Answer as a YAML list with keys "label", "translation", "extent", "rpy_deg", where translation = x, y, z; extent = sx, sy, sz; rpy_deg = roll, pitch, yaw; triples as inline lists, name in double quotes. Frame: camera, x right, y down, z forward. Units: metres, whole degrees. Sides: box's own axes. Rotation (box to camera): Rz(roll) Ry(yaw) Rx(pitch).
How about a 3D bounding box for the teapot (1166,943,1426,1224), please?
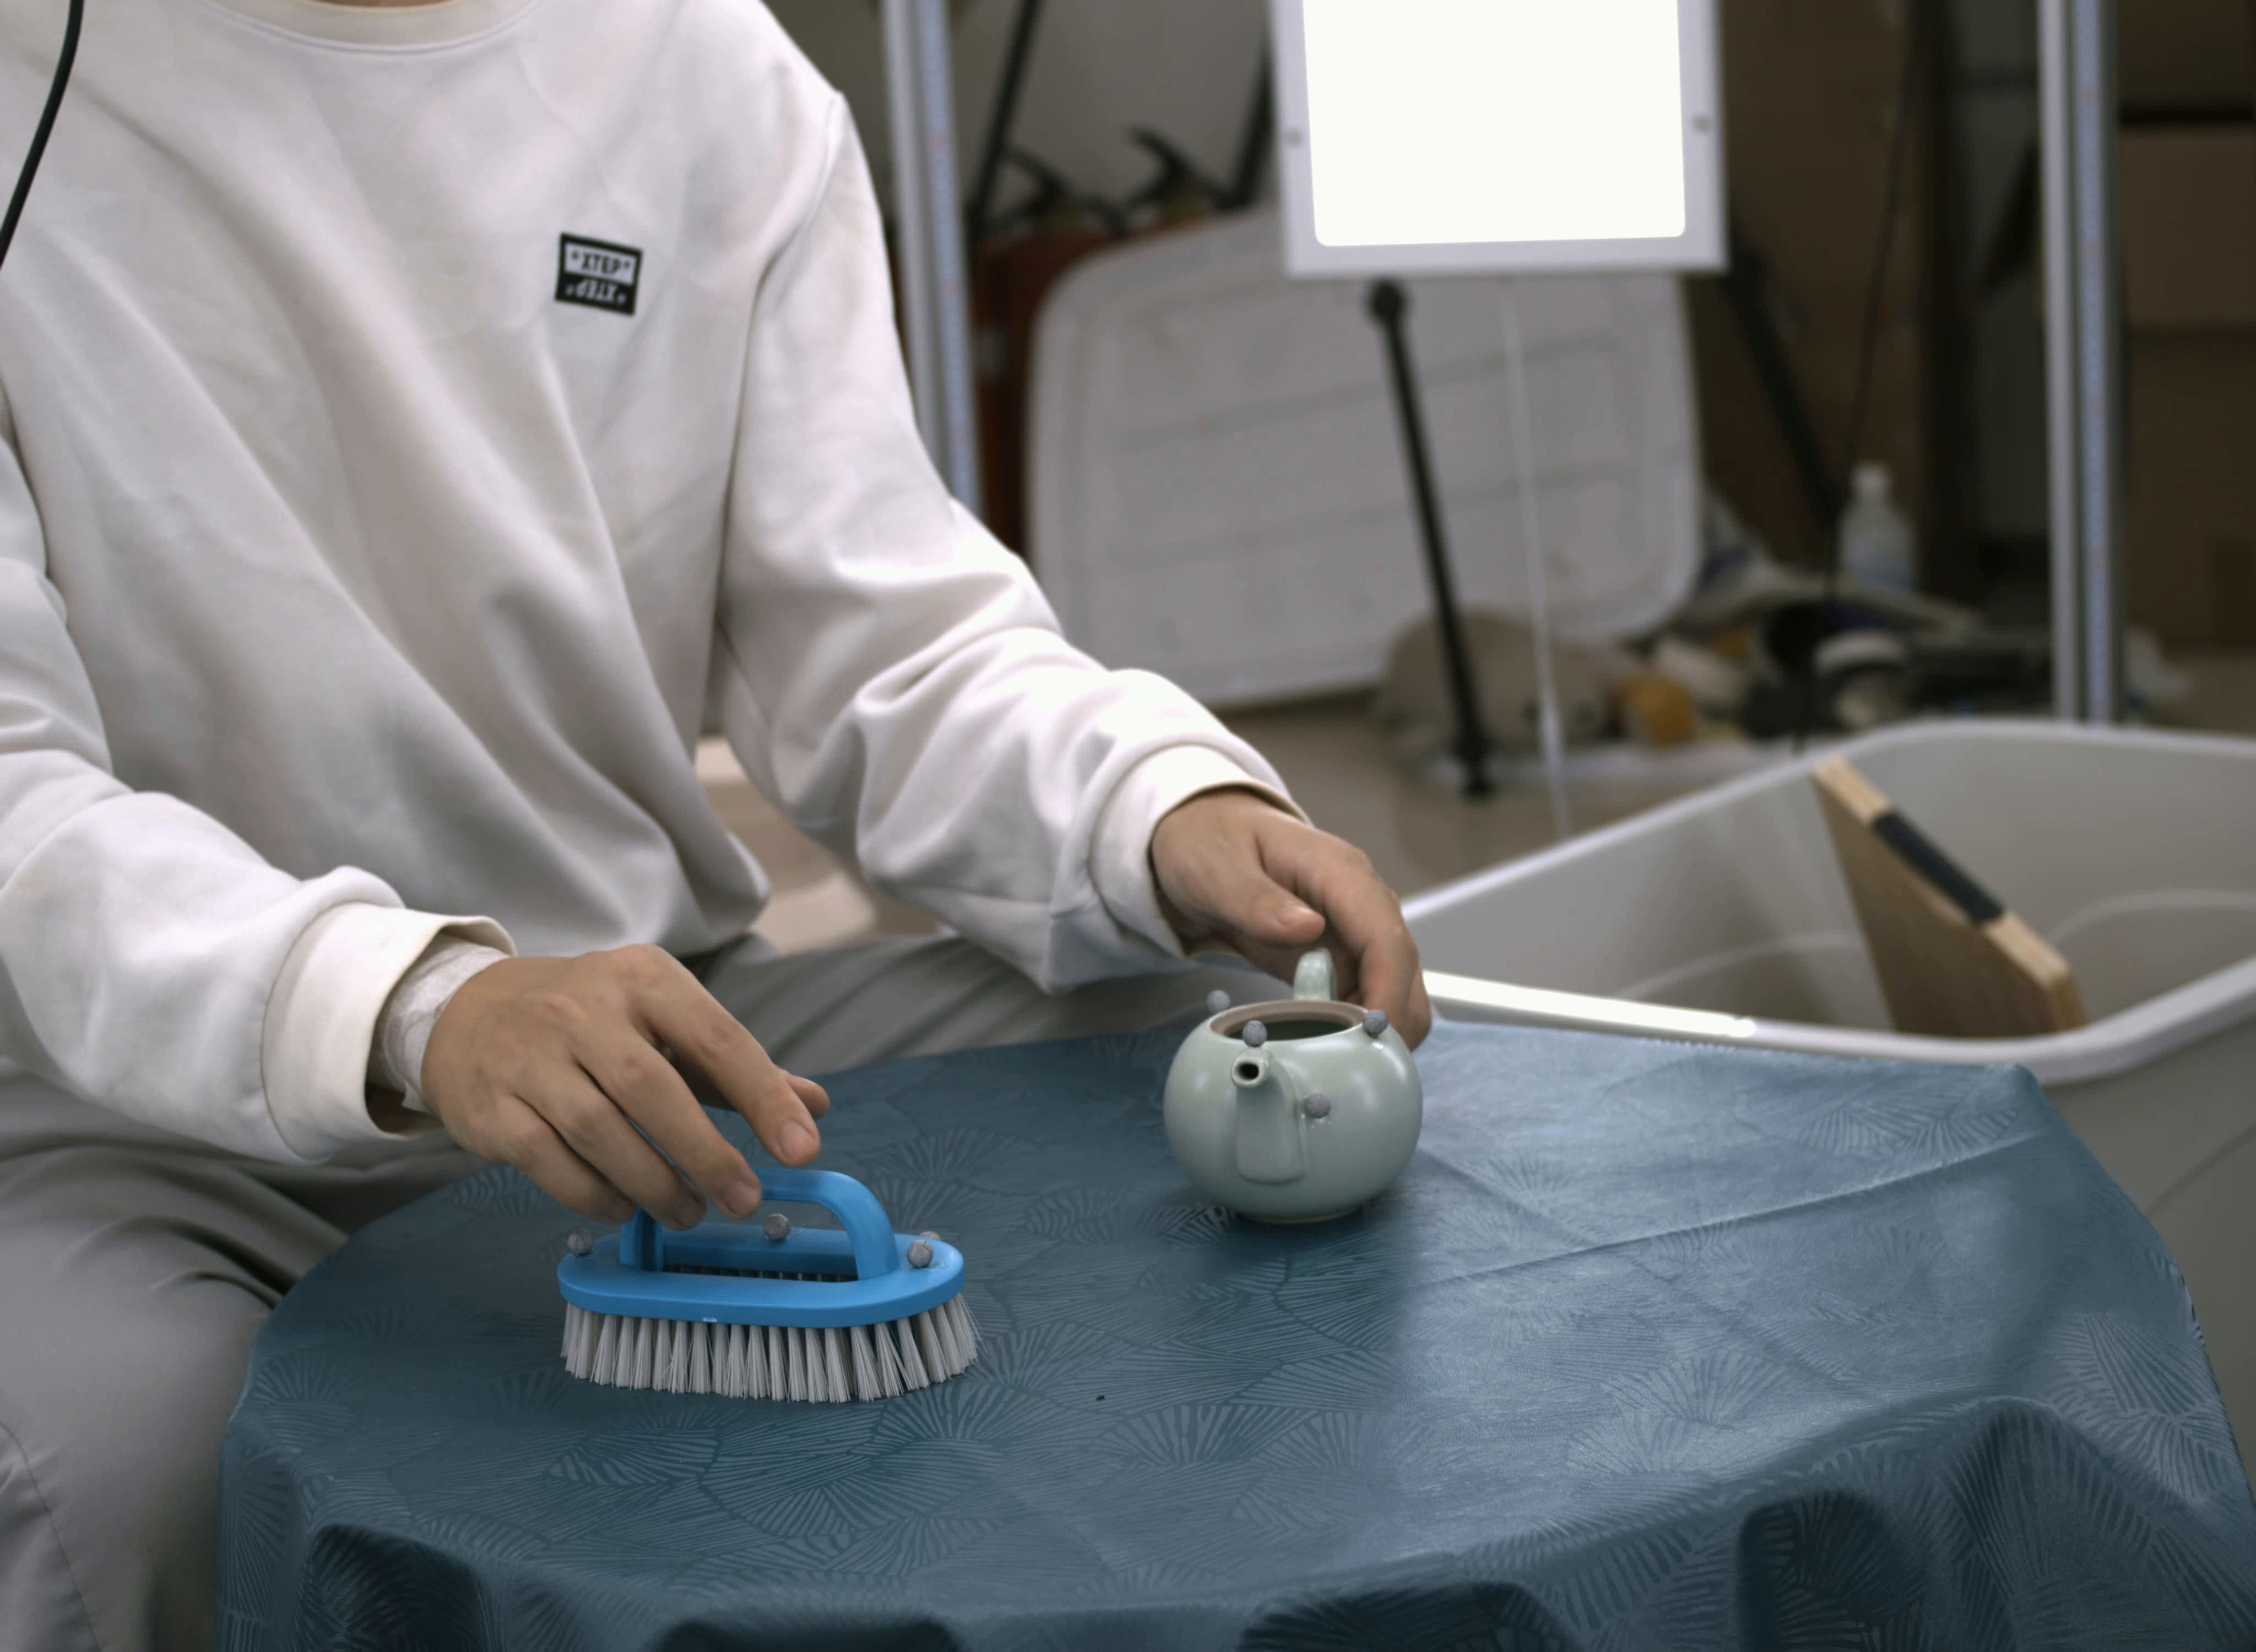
- label: "teapot"
  translation: [0.057, 0.093, 1.861]
  extent: [0.089, 0.075, 0.142]
  rpy_deg: [-2, 16, 16]

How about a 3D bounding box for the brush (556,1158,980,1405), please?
- label: "brush"
  translation: [-0.119, 0.138, 1.755]
  extent: [0.144, 0.064, 0.082]
  rpy_deg: [1, 19, 27]
